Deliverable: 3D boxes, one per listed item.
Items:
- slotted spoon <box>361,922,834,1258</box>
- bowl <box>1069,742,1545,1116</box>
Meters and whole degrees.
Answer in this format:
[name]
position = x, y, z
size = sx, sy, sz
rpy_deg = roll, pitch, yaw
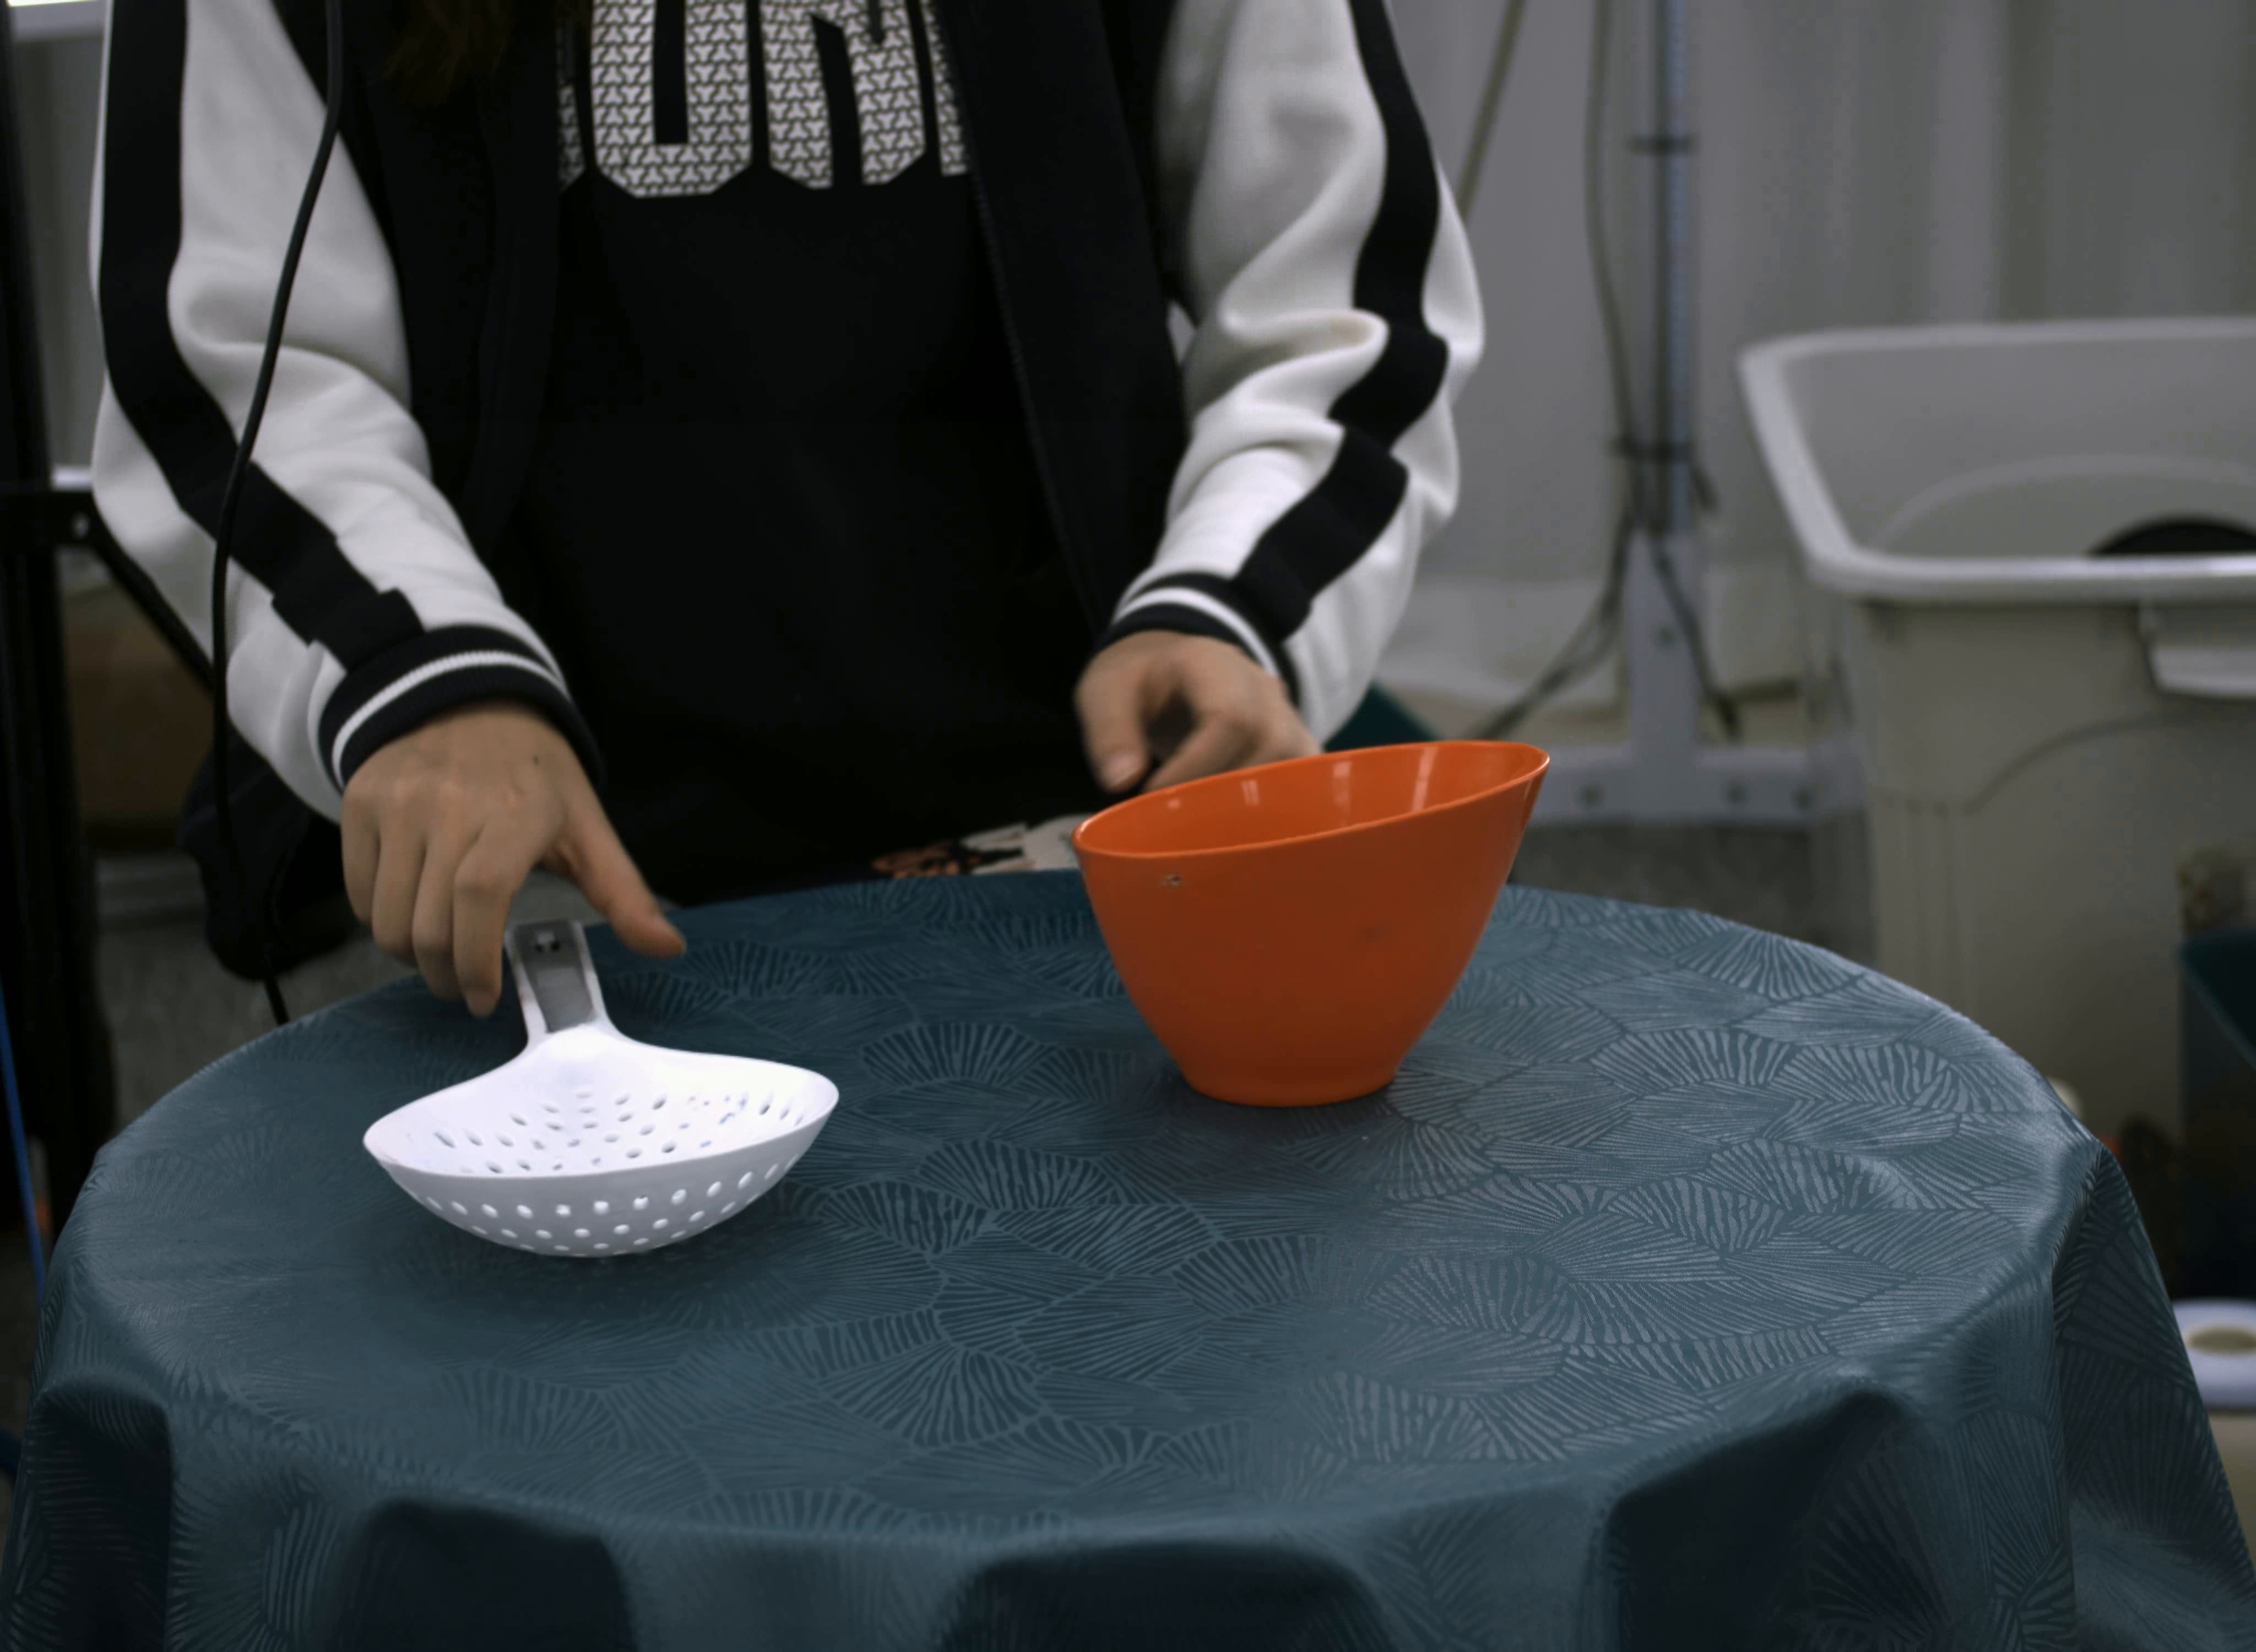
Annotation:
[slotted spoon]
position = -0.168, 0.071, 1.633
size = 0.134, 0.046, 0.353
rpy_deg = -6, 16, -8
[bowl]
position = 0.057, 0.032, 1.635
size = 0.147, 0.104, 0.149
rpy_deg = -4, 16, 0
